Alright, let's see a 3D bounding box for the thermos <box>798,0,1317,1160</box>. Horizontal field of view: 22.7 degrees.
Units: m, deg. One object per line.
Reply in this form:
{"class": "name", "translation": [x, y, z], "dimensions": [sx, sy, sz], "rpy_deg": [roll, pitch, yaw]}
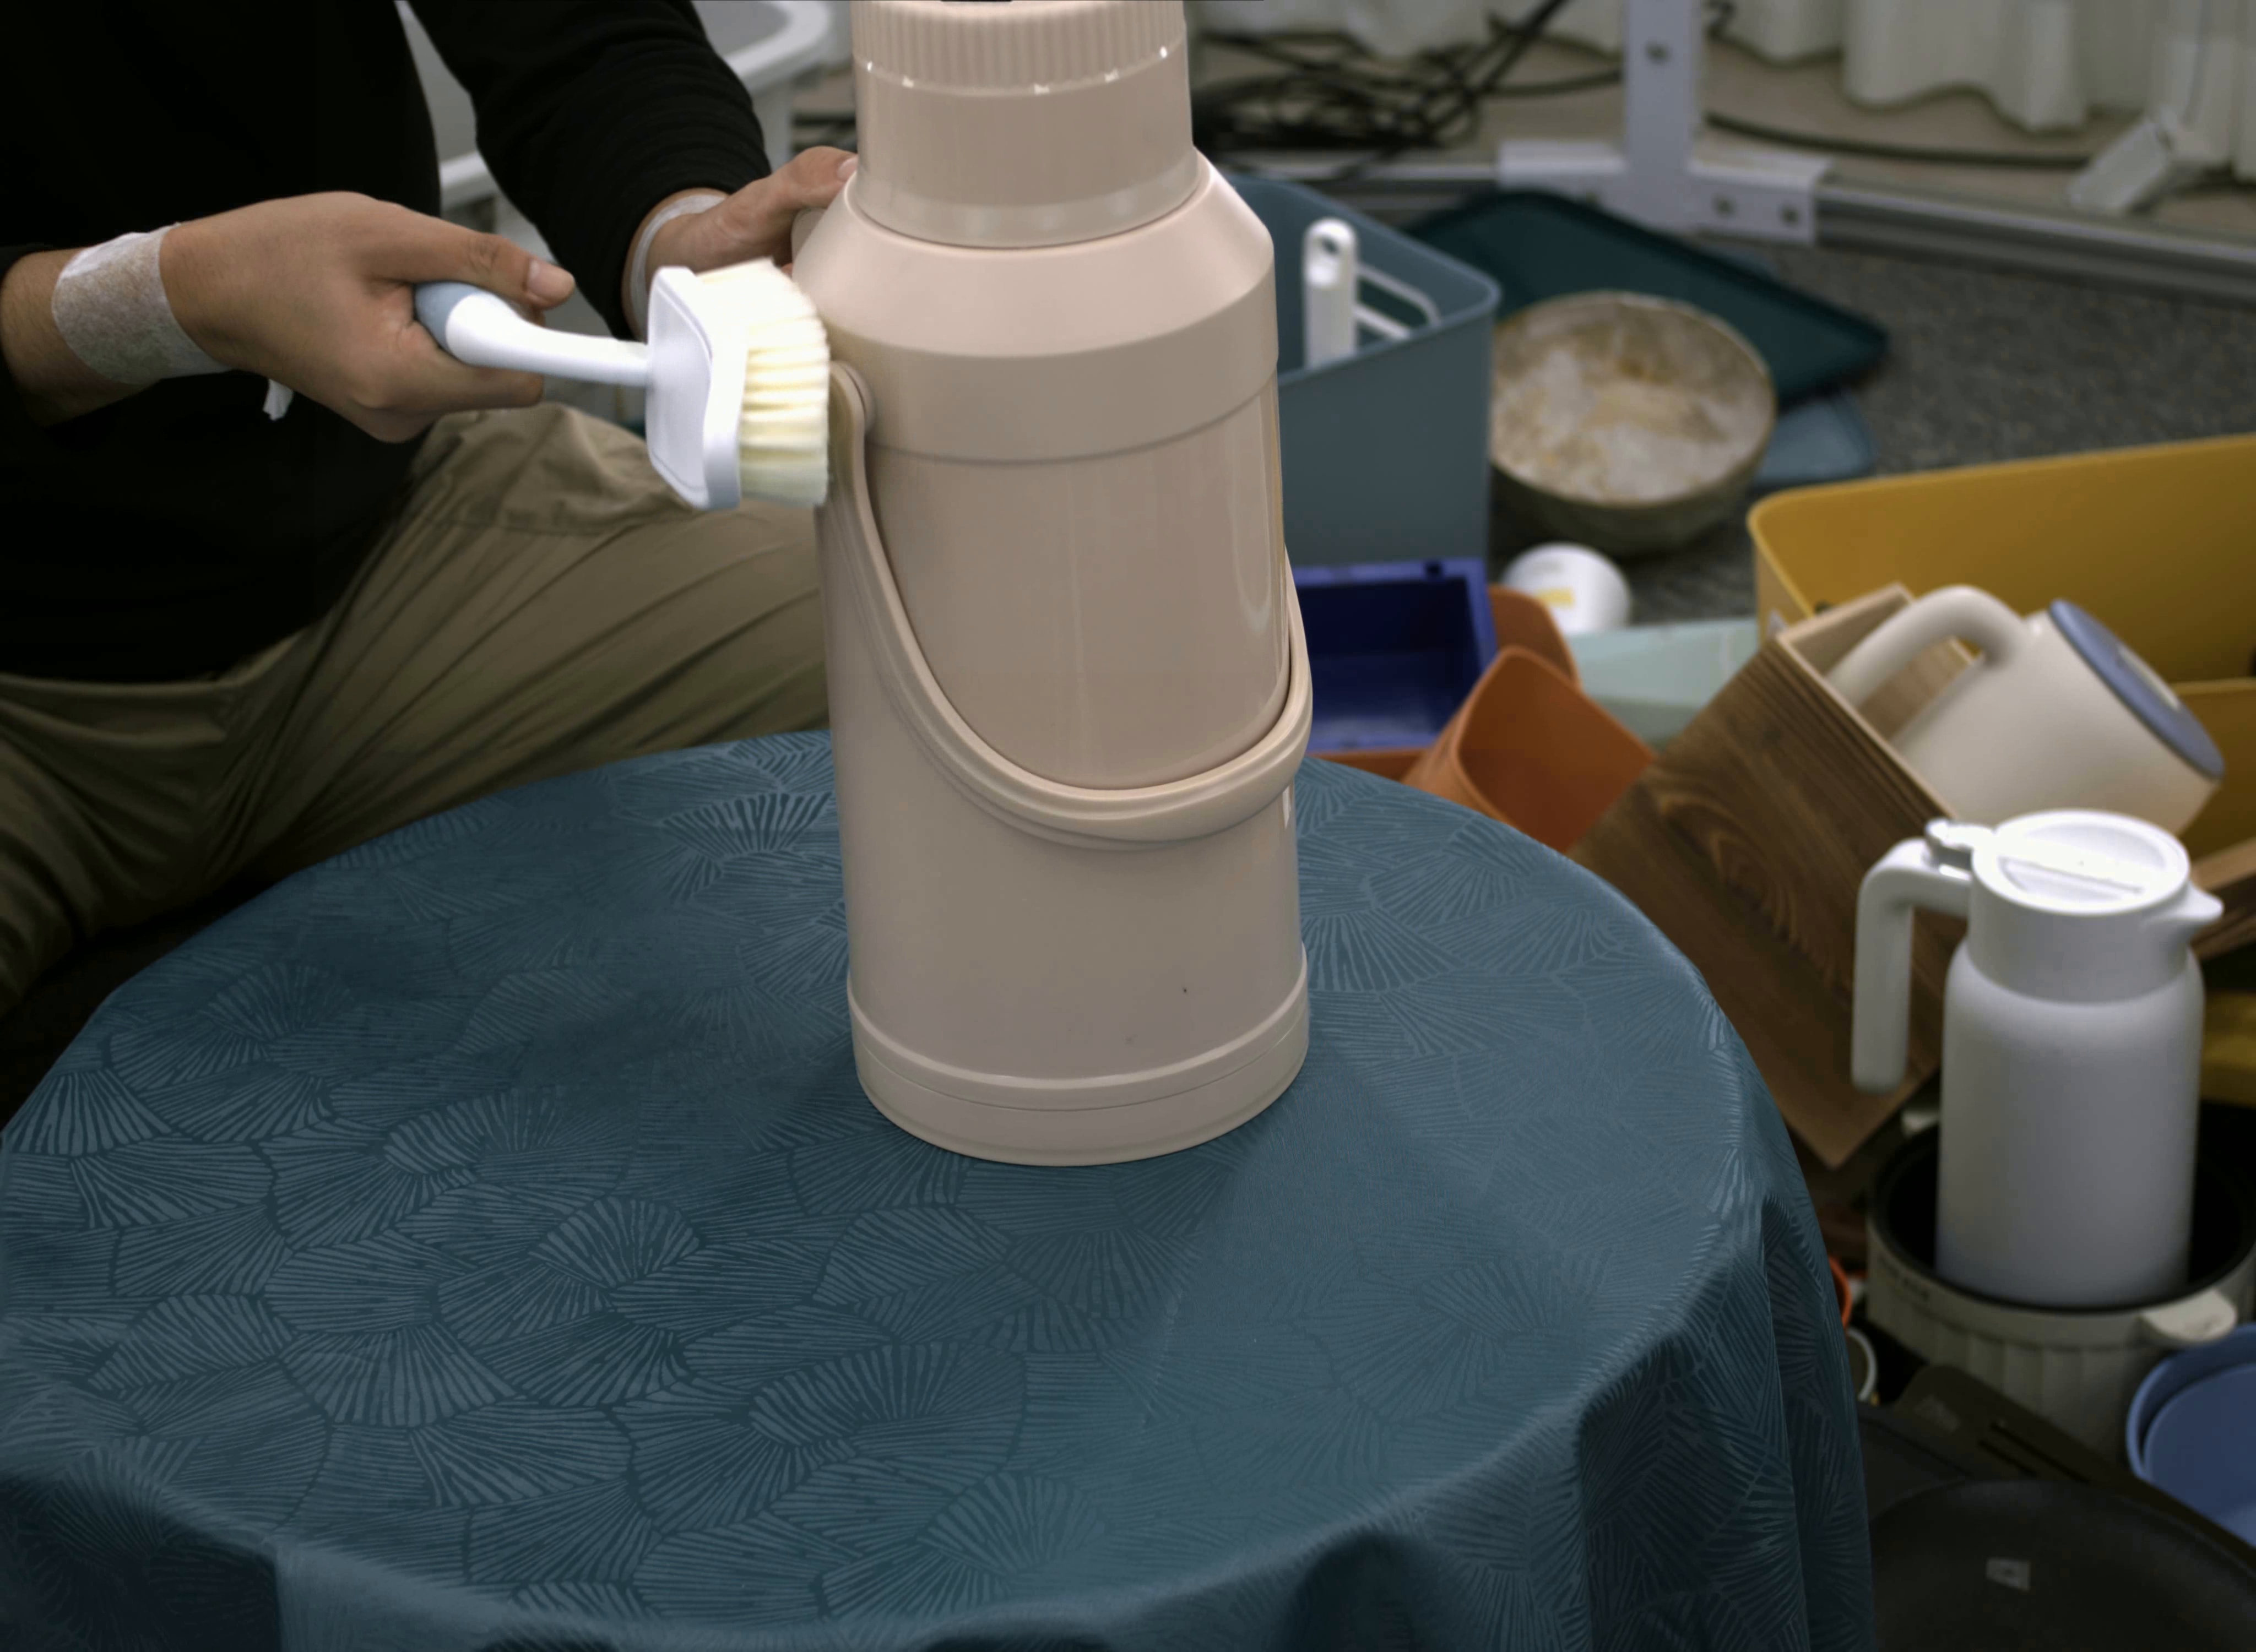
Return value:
{"class": "thermos", "translation": [-0.032, -0.104, 1.874], "dimensions": [0.177, 0.402, 0.207], "rpy_deg": [-25, 34, -34]}

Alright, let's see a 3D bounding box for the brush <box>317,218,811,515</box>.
{"class": "brush", "translation": [-0.171, -0.166, 1.875], "dimensions": [0.083, 0.084, 0.326], "rpy_deg": [-53, 32, -4]}
